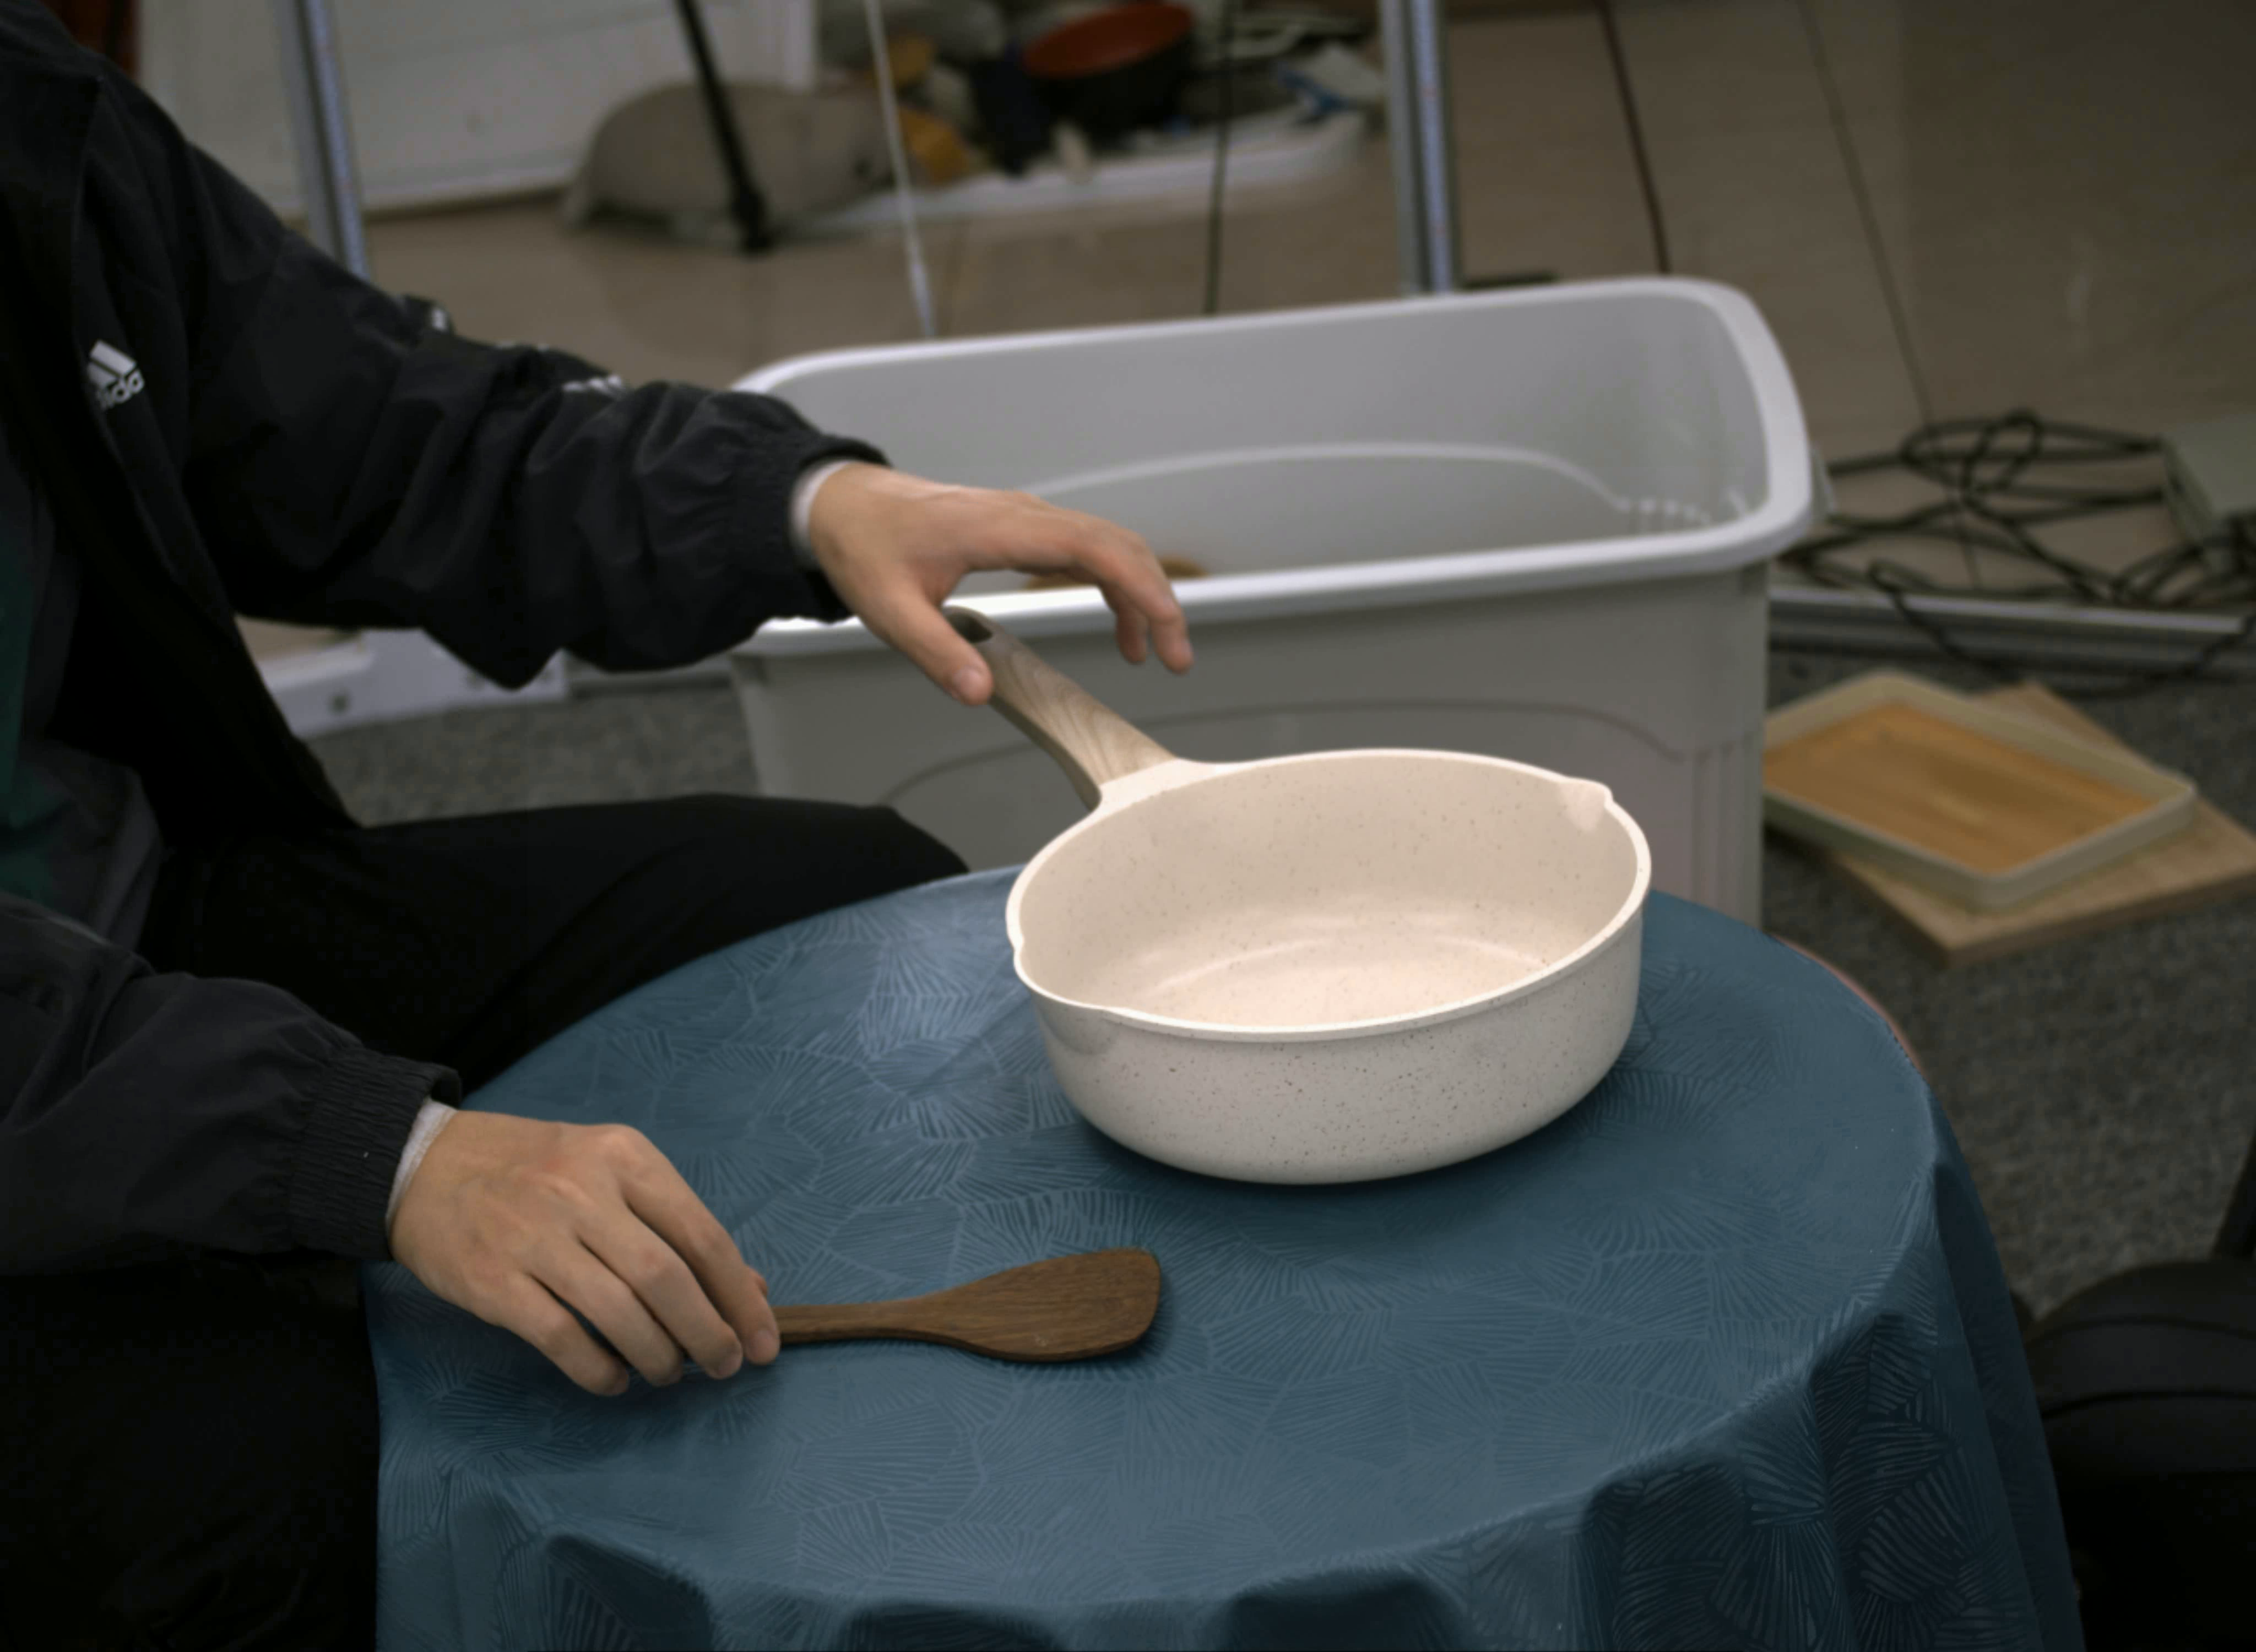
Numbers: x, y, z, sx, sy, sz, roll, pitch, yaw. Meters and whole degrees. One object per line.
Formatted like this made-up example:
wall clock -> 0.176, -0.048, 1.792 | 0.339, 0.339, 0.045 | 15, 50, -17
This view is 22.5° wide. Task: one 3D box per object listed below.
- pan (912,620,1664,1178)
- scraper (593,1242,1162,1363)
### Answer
pan -> 0.038, 0.021, 2.273 | 0.262, 0.103, 0.430 | -21, 28, -25
scraper -> -0.092, 0.180, 2.071 | 0.211, 0.011, 0.075 | -5, 25, 6
